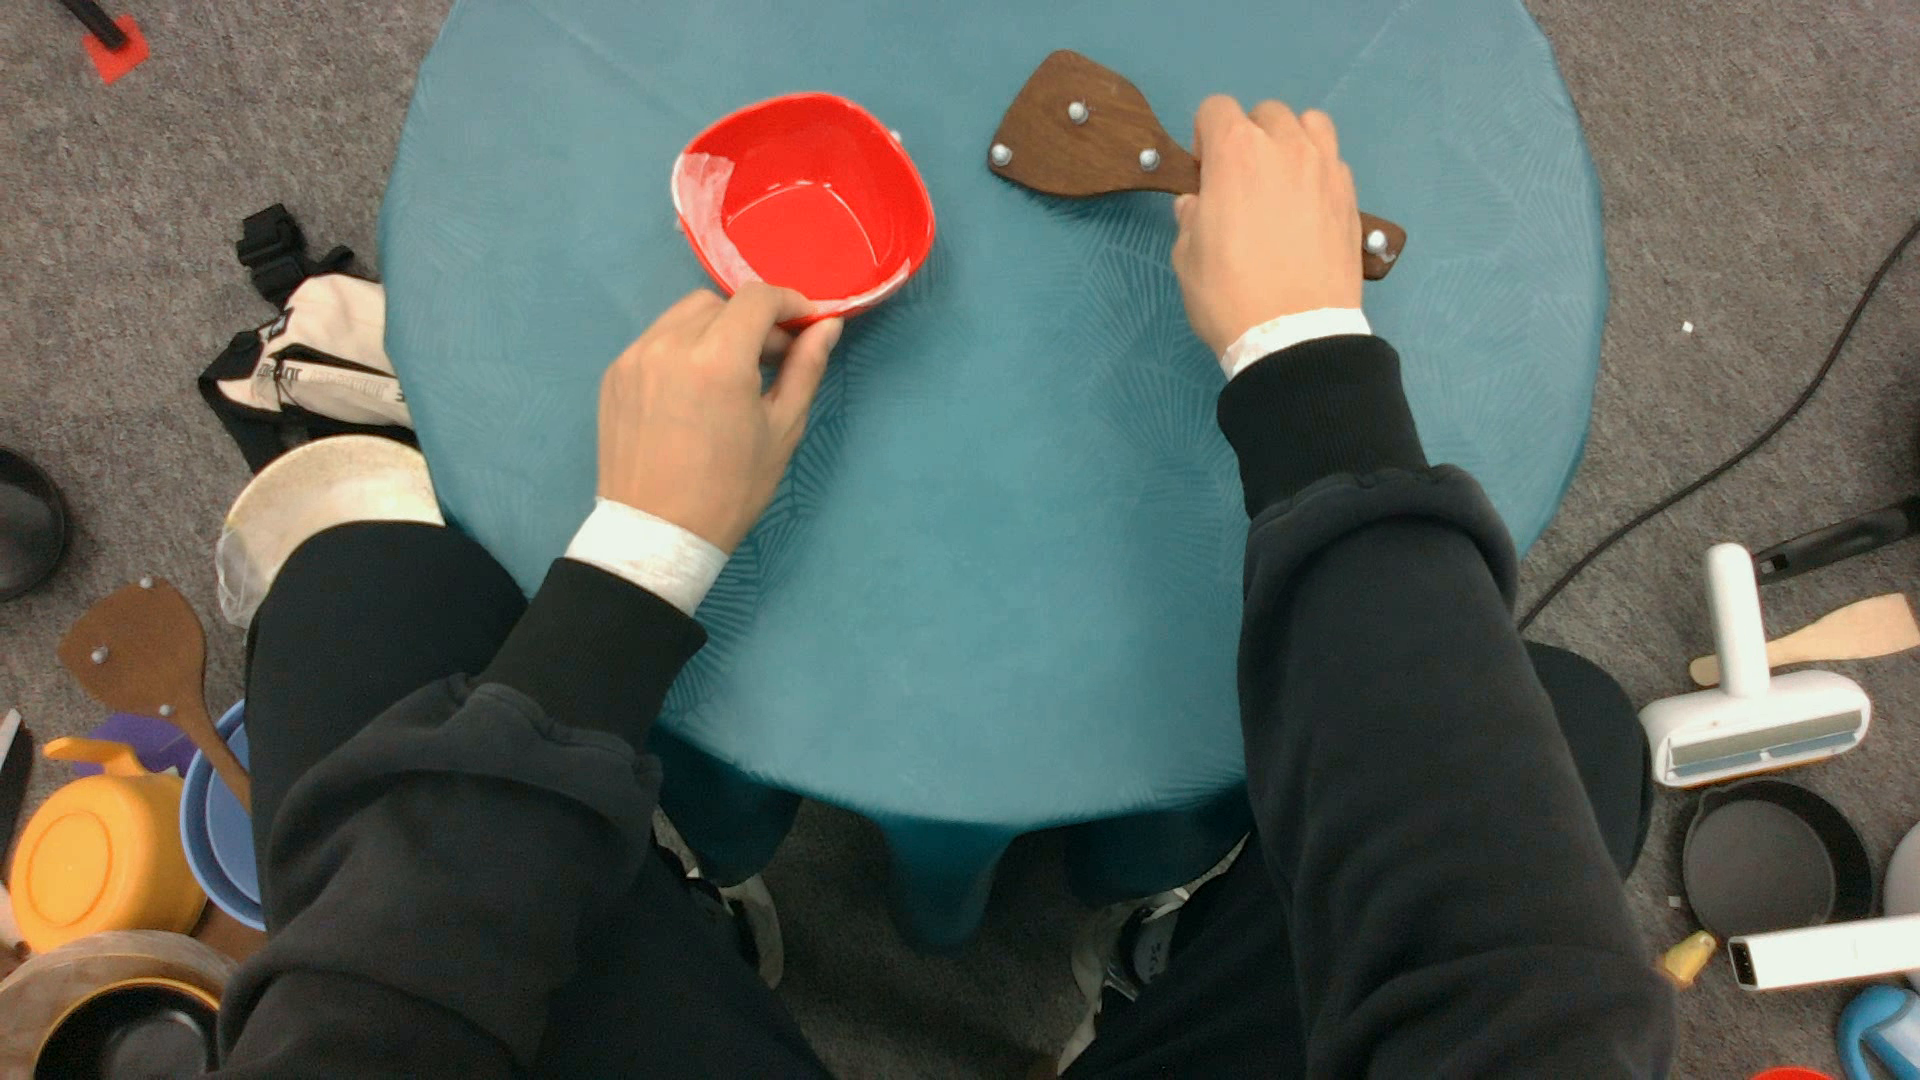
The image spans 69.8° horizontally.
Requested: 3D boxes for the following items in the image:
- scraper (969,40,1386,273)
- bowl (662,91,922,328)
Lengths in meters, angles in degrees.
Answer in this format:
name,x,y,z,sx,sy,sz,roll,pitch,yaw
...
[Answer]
name,x,y,z,sx,sy,sz,roll,pitch,yaw
scraper,0.102,-0.176,0.652,0.211,0.011,0.076,31,84,24
bowl,-0.080,-0.146,0.645,0.119,0.051,0.119,4,71,-13
